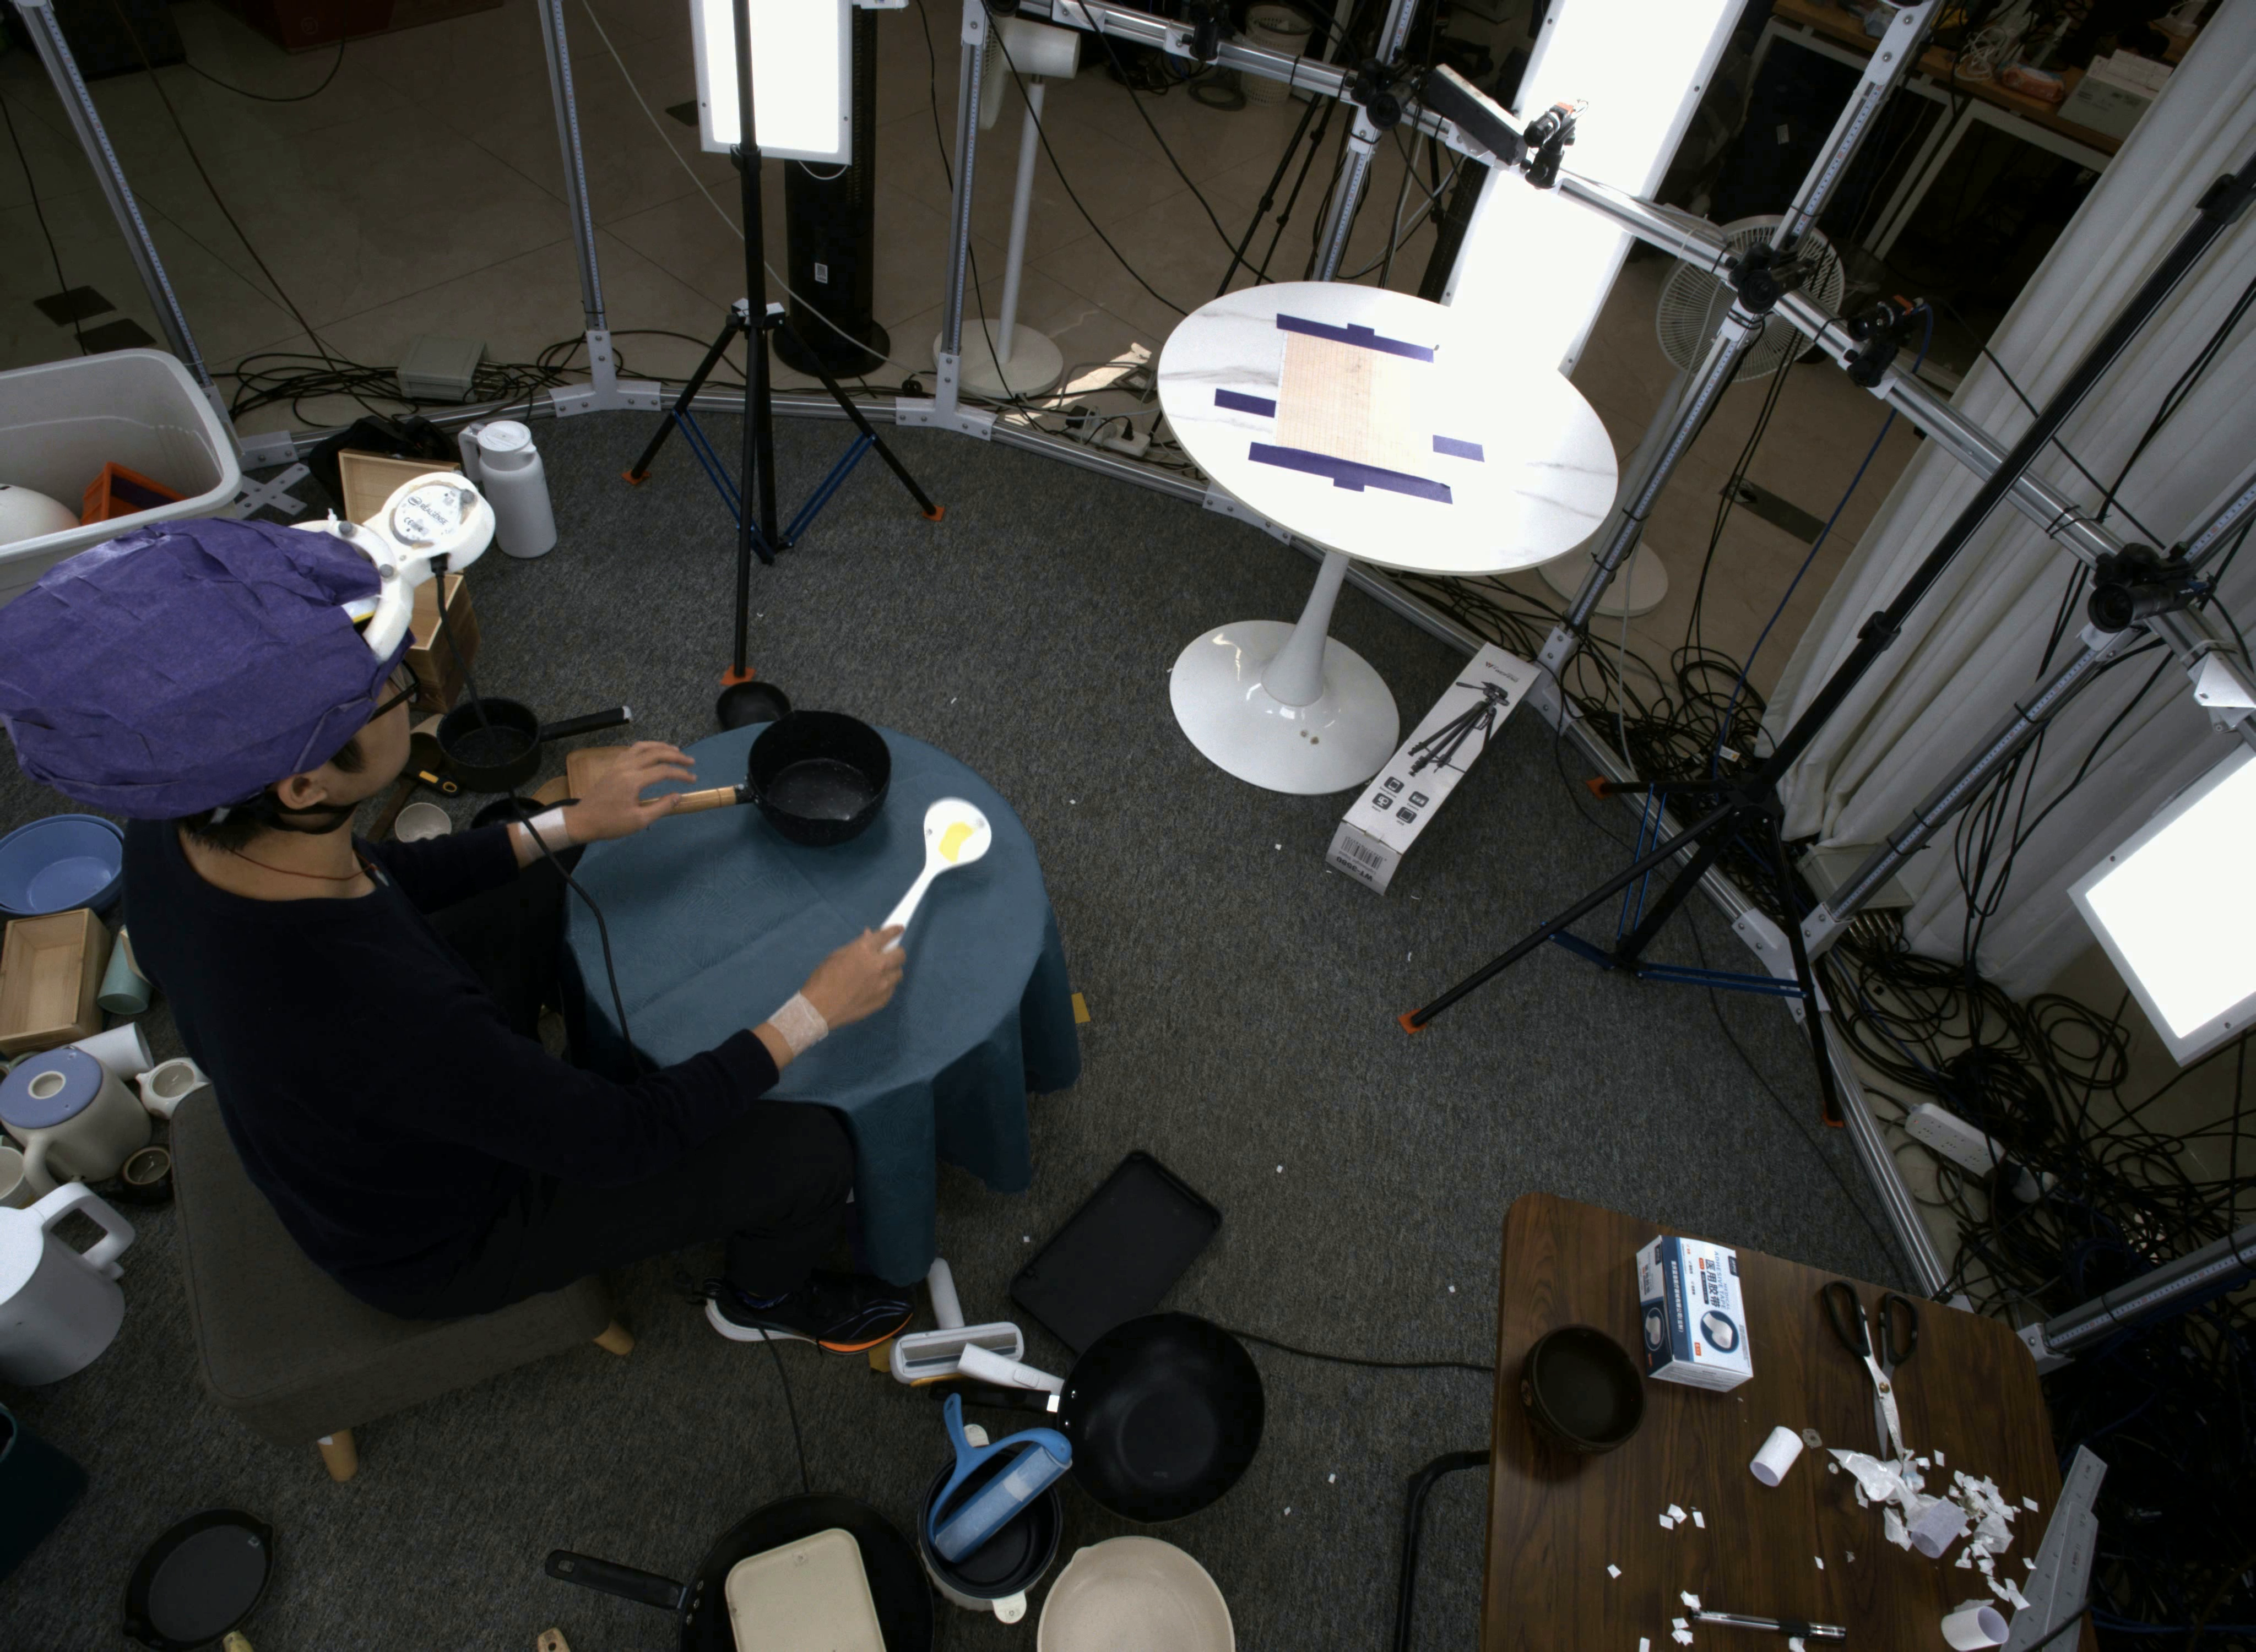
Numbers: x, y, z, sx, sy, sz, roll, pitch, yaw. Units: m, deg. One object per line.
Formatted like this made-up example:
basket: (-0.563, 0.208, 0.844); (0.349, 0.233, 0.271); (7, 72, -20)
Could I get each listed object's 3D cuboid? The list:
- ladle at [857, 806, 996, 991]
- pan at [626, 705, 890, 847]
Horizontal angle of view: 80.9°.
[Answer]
ladle: (-0.250, 0.086, 1.603); (0.091, 0.070, 0.290); (39, 37, -10)
pan: (-0.472, -0.041, 1.662); (0.345, 0.110, 0.202); (-20, 62, -29)
